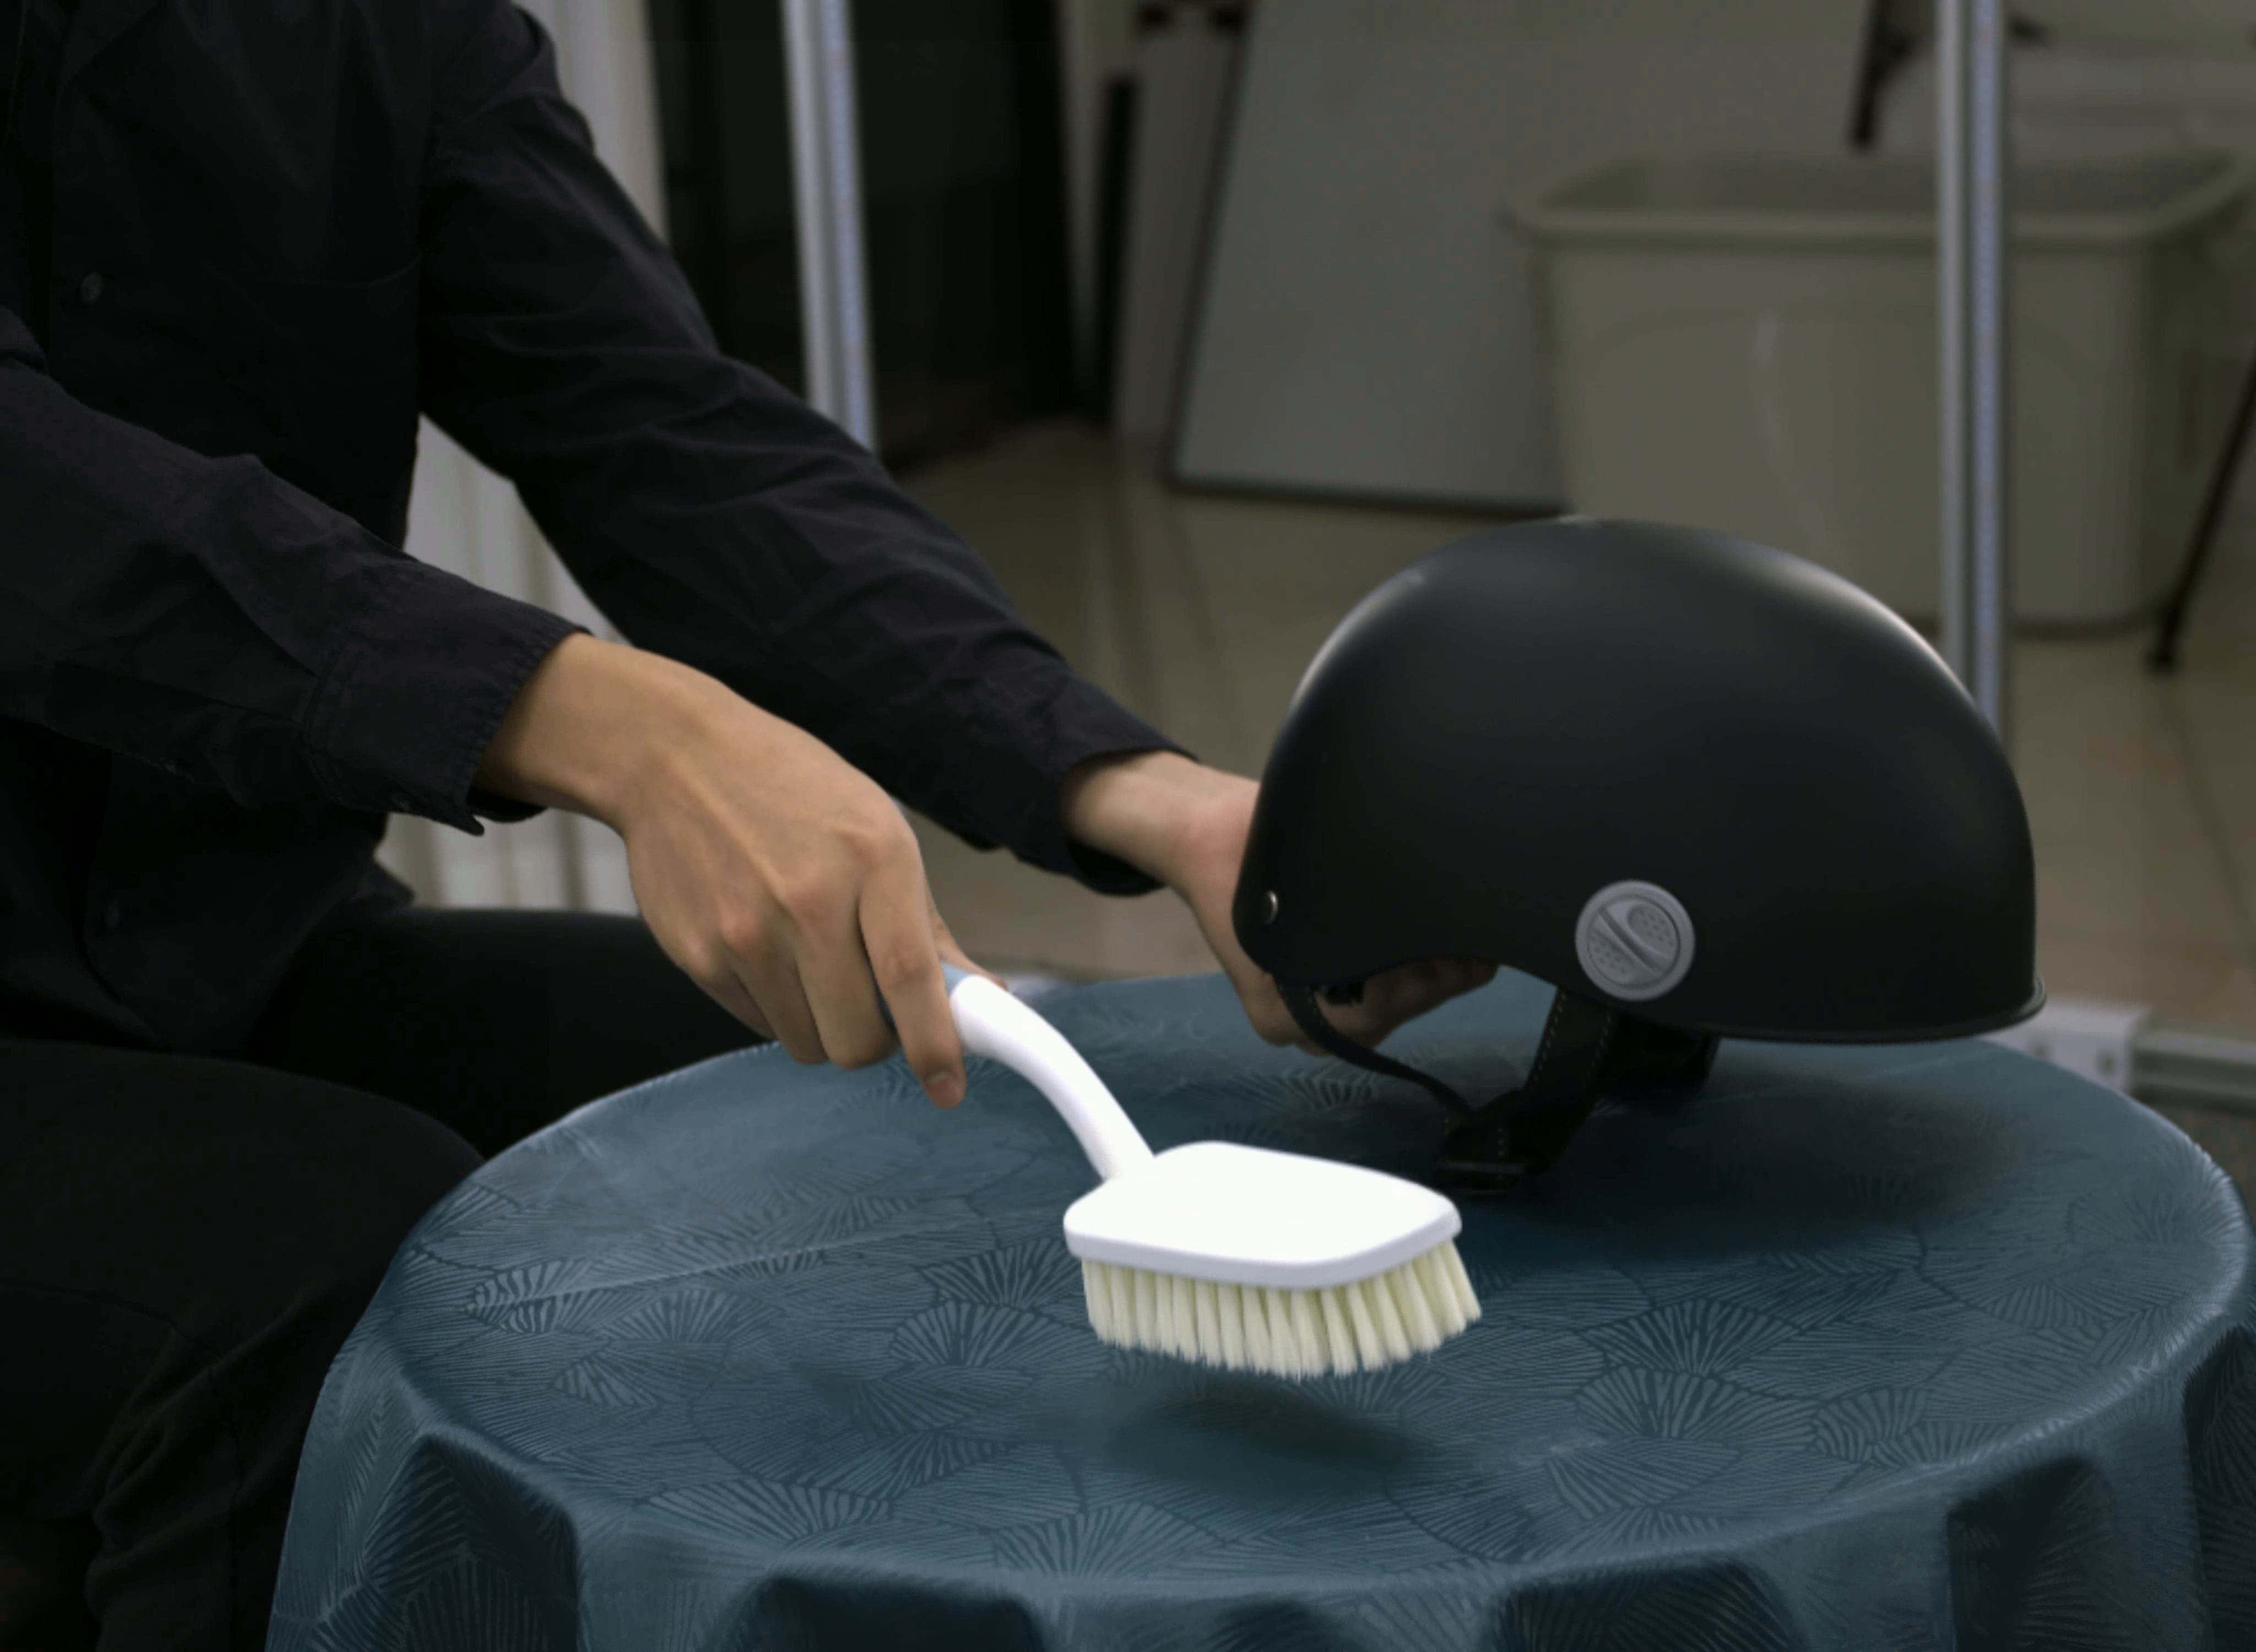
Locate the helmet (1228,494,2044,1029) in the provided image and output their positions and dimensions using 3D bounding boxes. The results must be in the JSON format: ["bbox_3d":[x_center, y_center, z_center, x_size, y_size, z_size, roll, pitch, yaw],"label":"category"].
[{"bbox_3d":[0.165,-0.023,1.759,0.274,0.169,0.226,4,12,29],"label":"helmet"}]

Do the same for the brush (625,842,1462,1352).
[{"bbox_3d":[-0.030,0.091,1.609,0.328,0.085,0.081,20,-4,38],"label":"brush"}]
